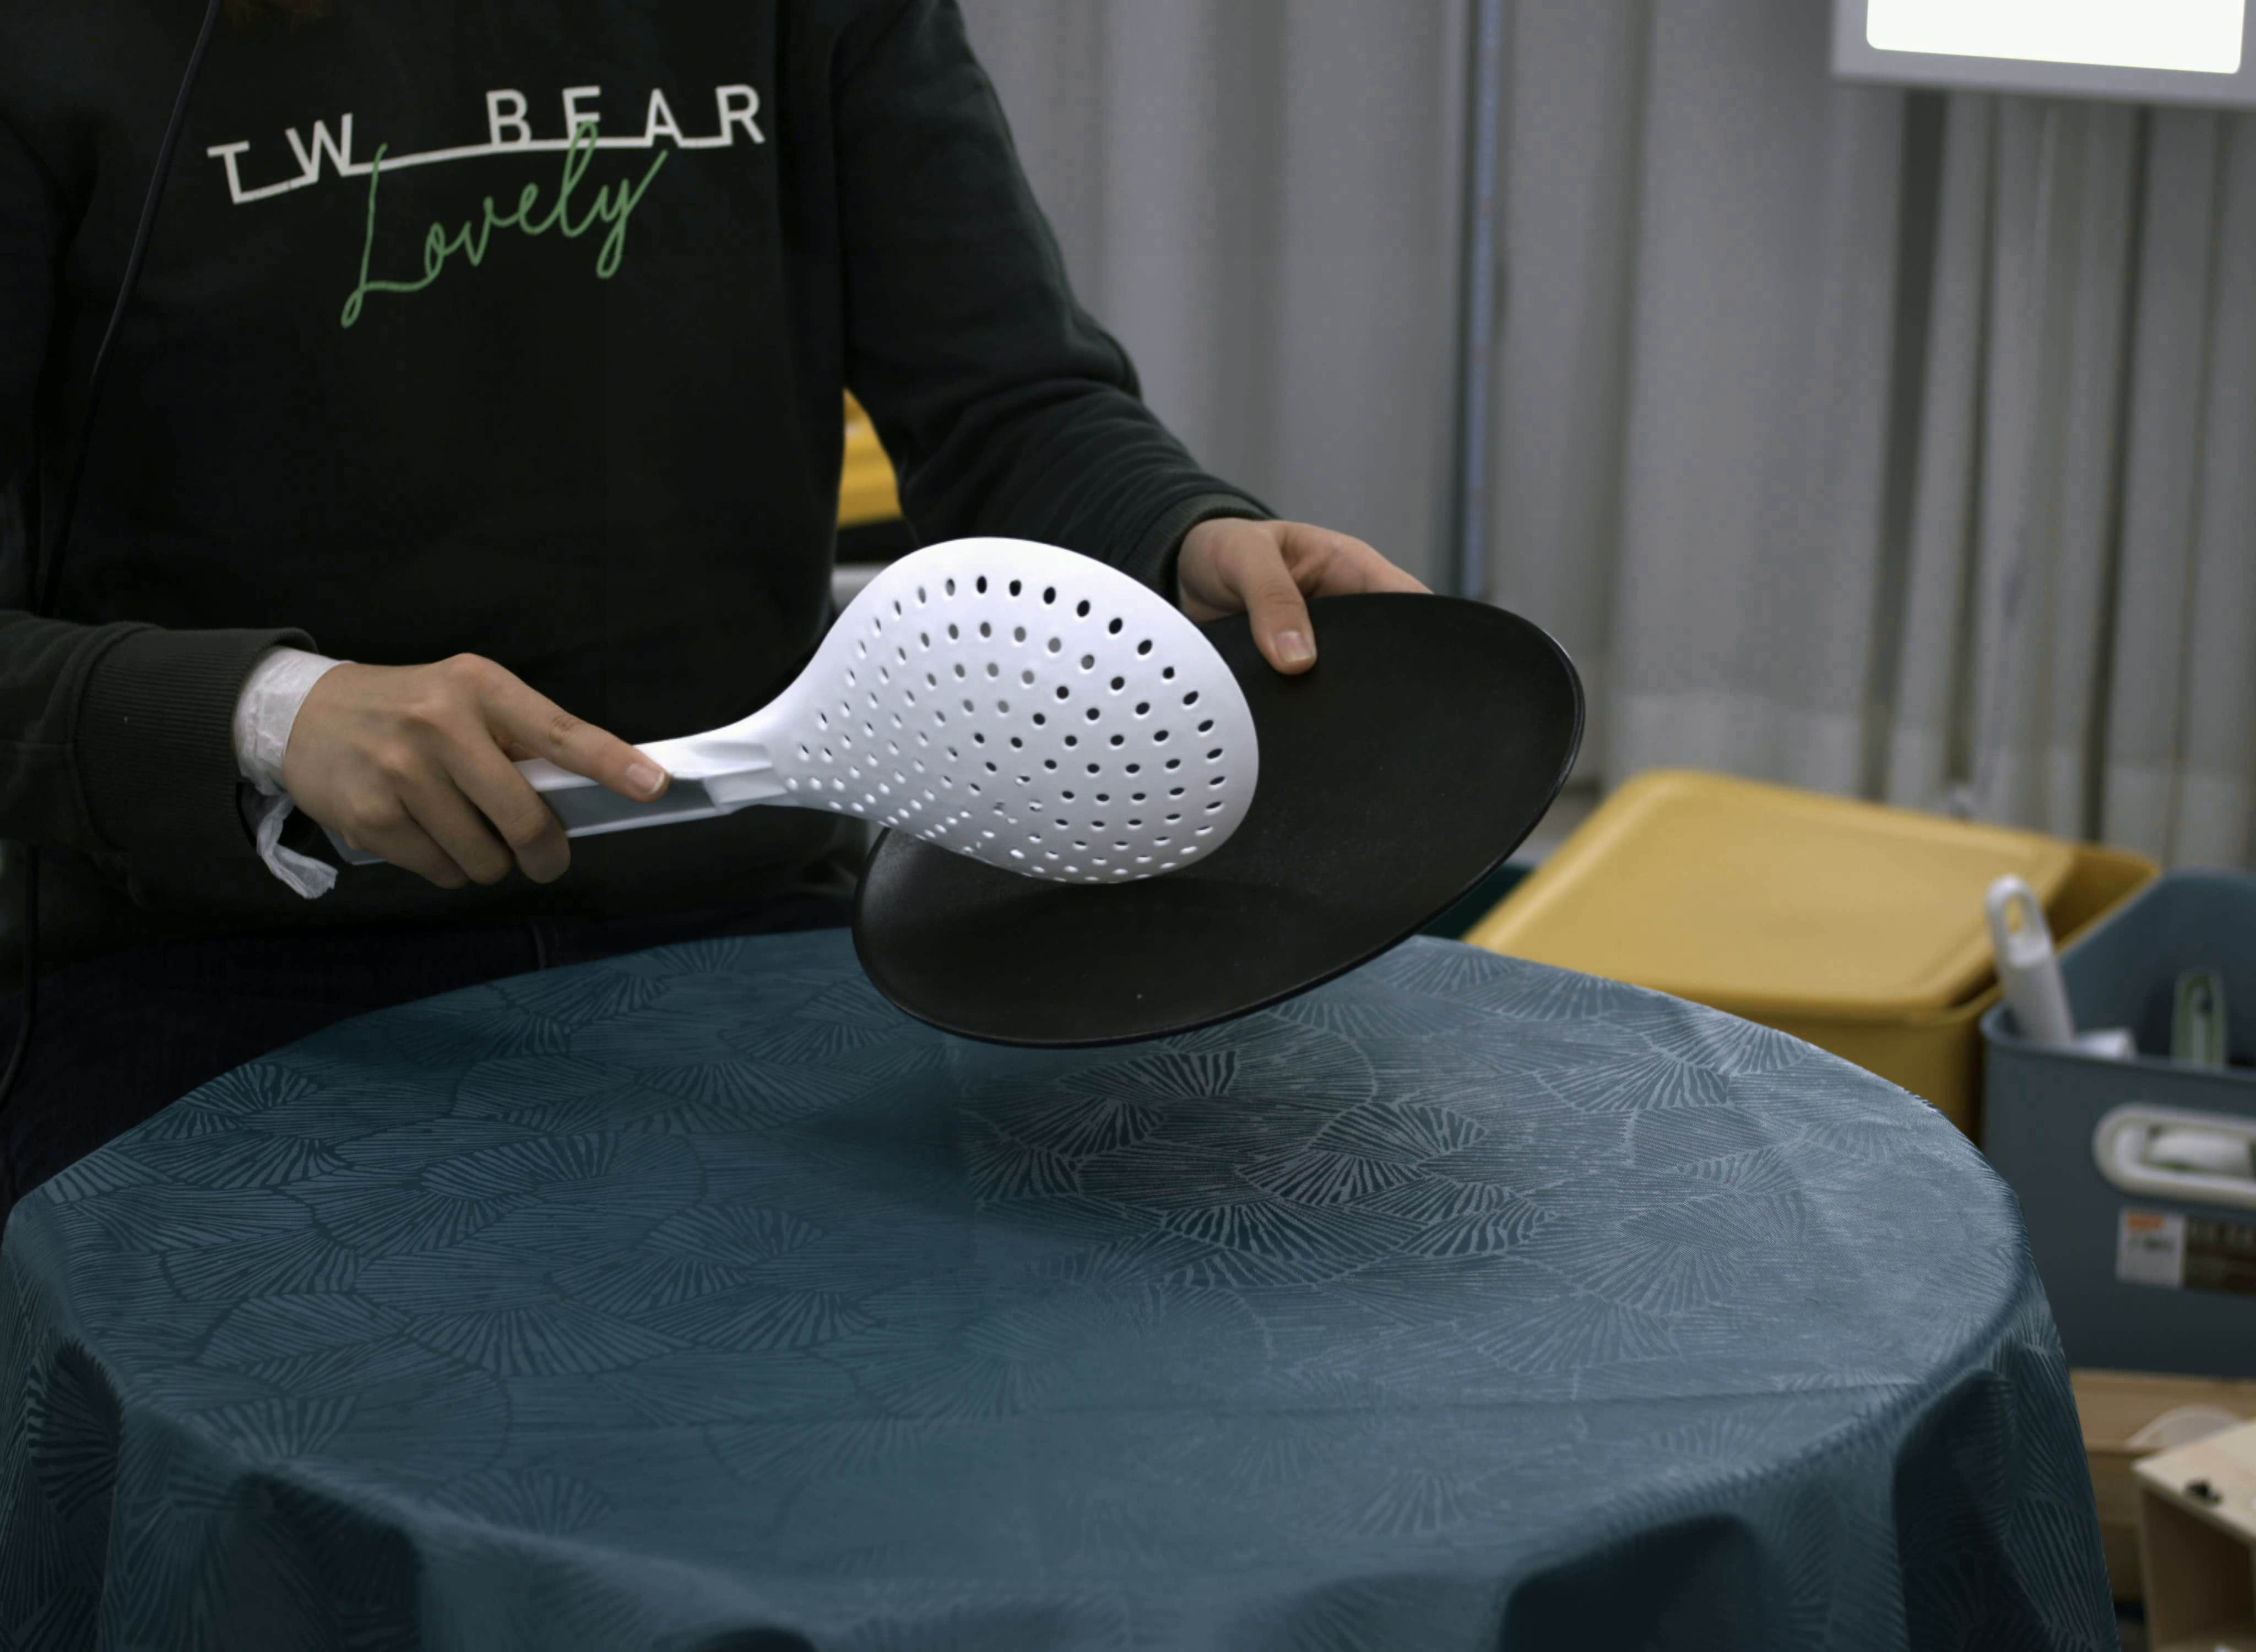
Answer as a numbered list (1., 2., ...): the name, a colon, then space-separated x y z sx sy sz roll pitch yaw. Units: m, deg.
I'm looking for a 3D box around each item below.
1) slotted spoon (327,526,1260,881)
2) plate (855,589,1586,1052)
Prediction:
1. slotted spoon: -0.116 -0.020 1.671 0.346 0.138 0.045 -5 37 35
2. plate: 0.031 0.002 1.658 0.243 0.024 0.242 -16 30 10
